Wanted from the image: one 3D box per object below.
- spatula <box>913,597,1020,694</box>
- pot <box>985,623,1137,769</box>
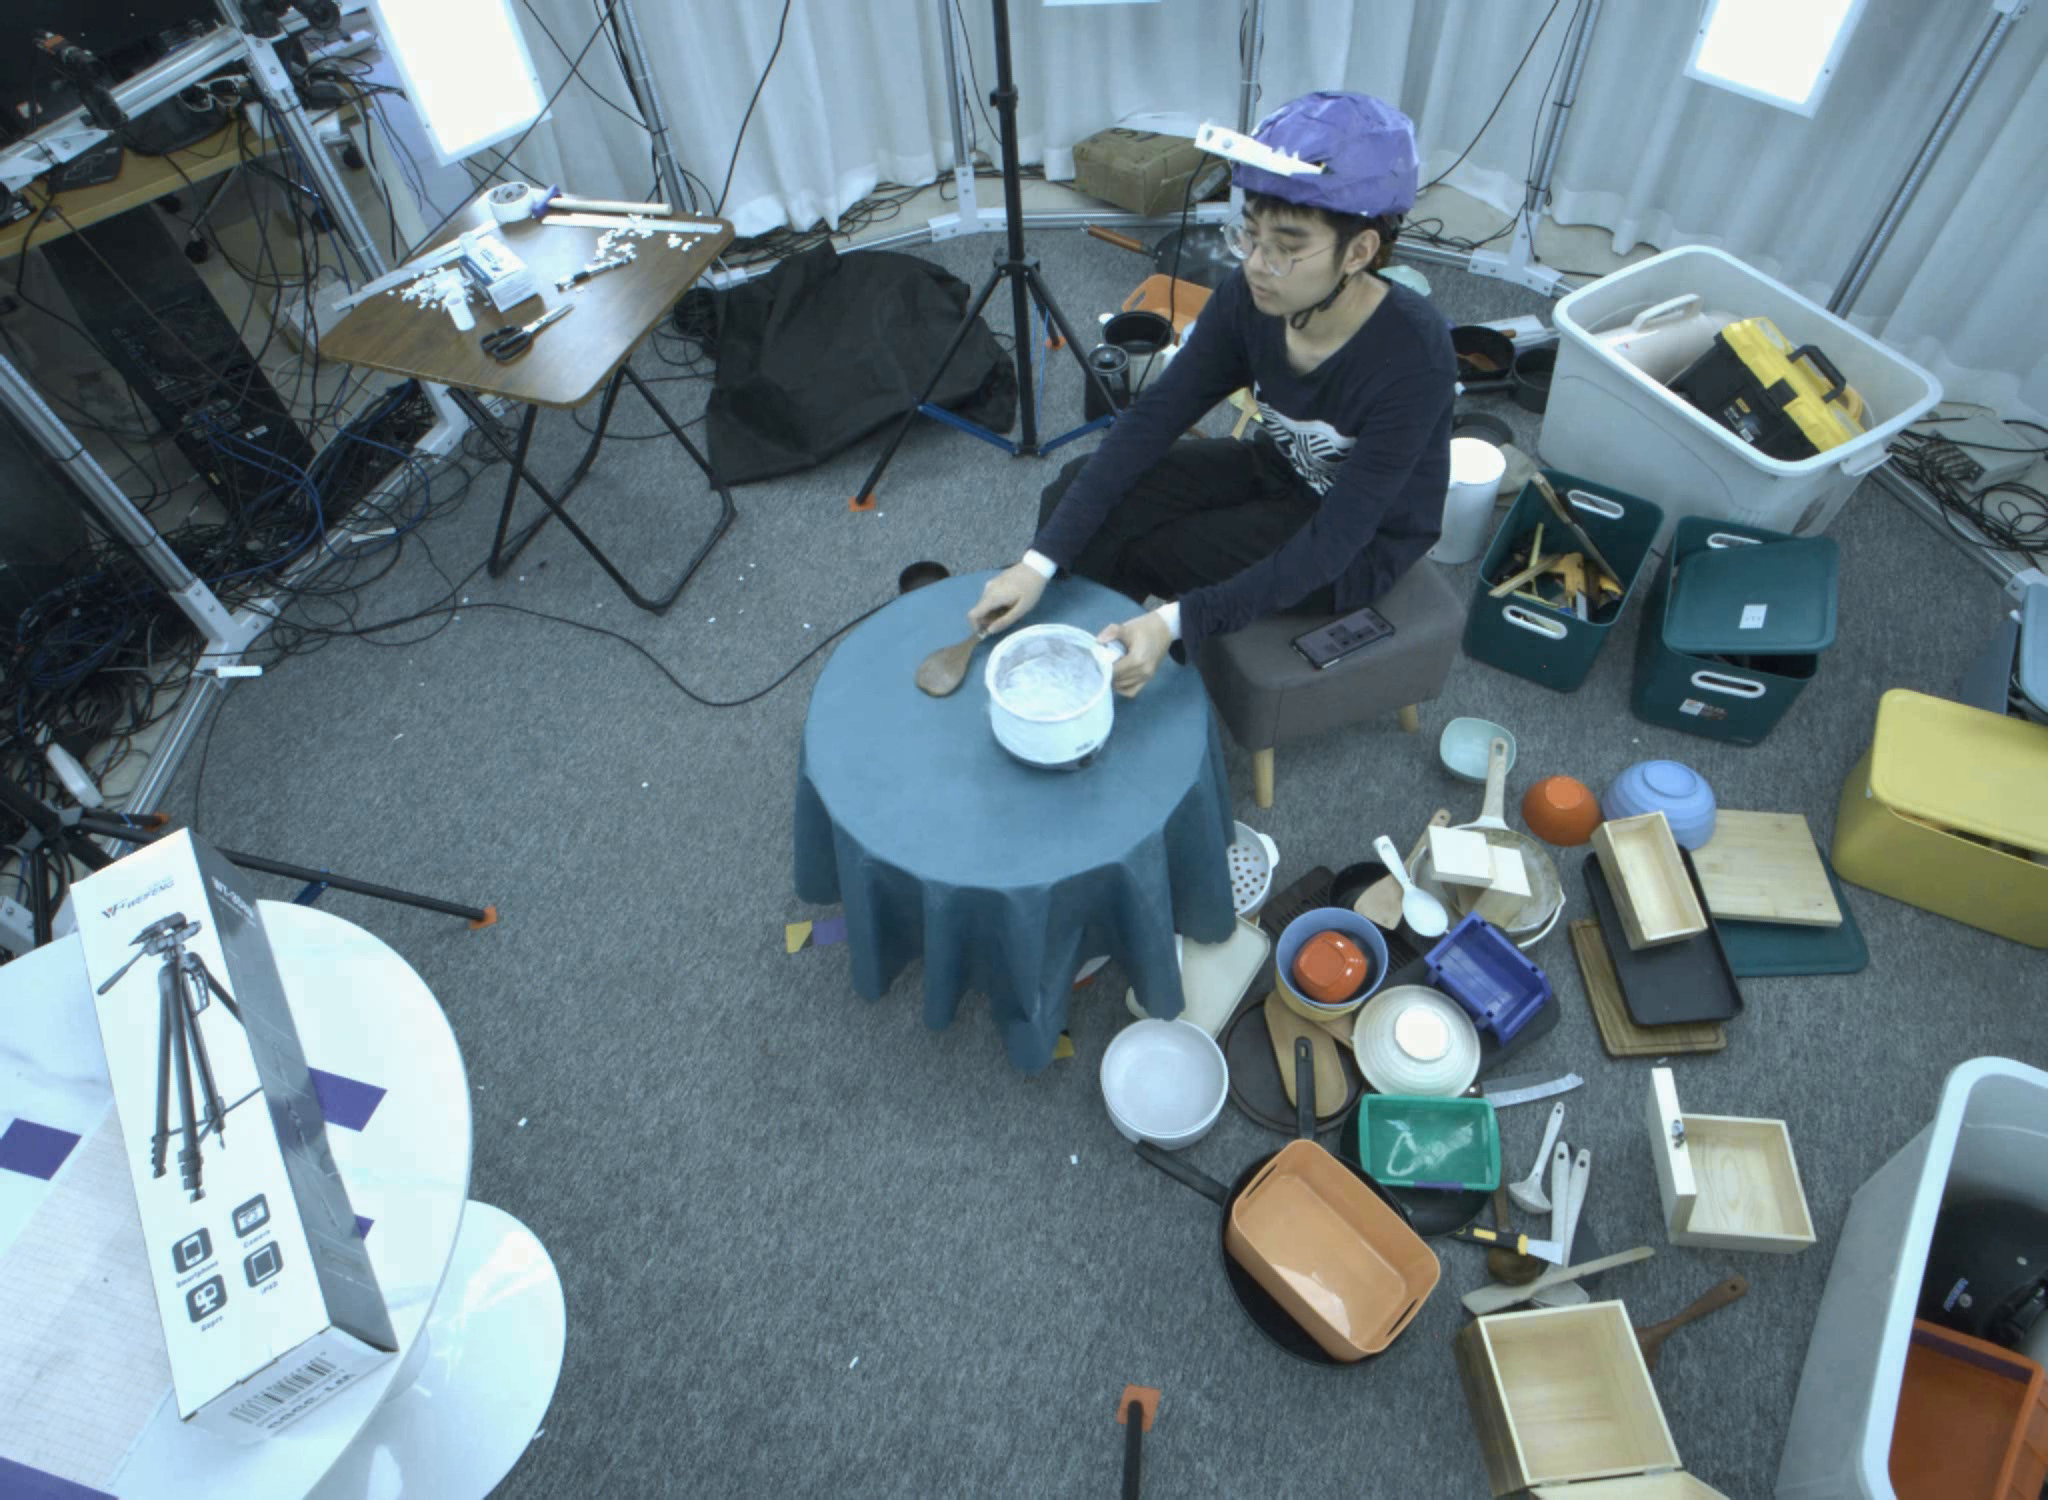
[{"bbox_3d":[-0.081,-0.163,1.891,0.071,0.009,0.217,40,72,19],"label":"spatula"},{"bbox_3d":[0.060,-0.087,1.769,0.235,0.138,0.175,-31,61,-17],"label":"pot"}]
